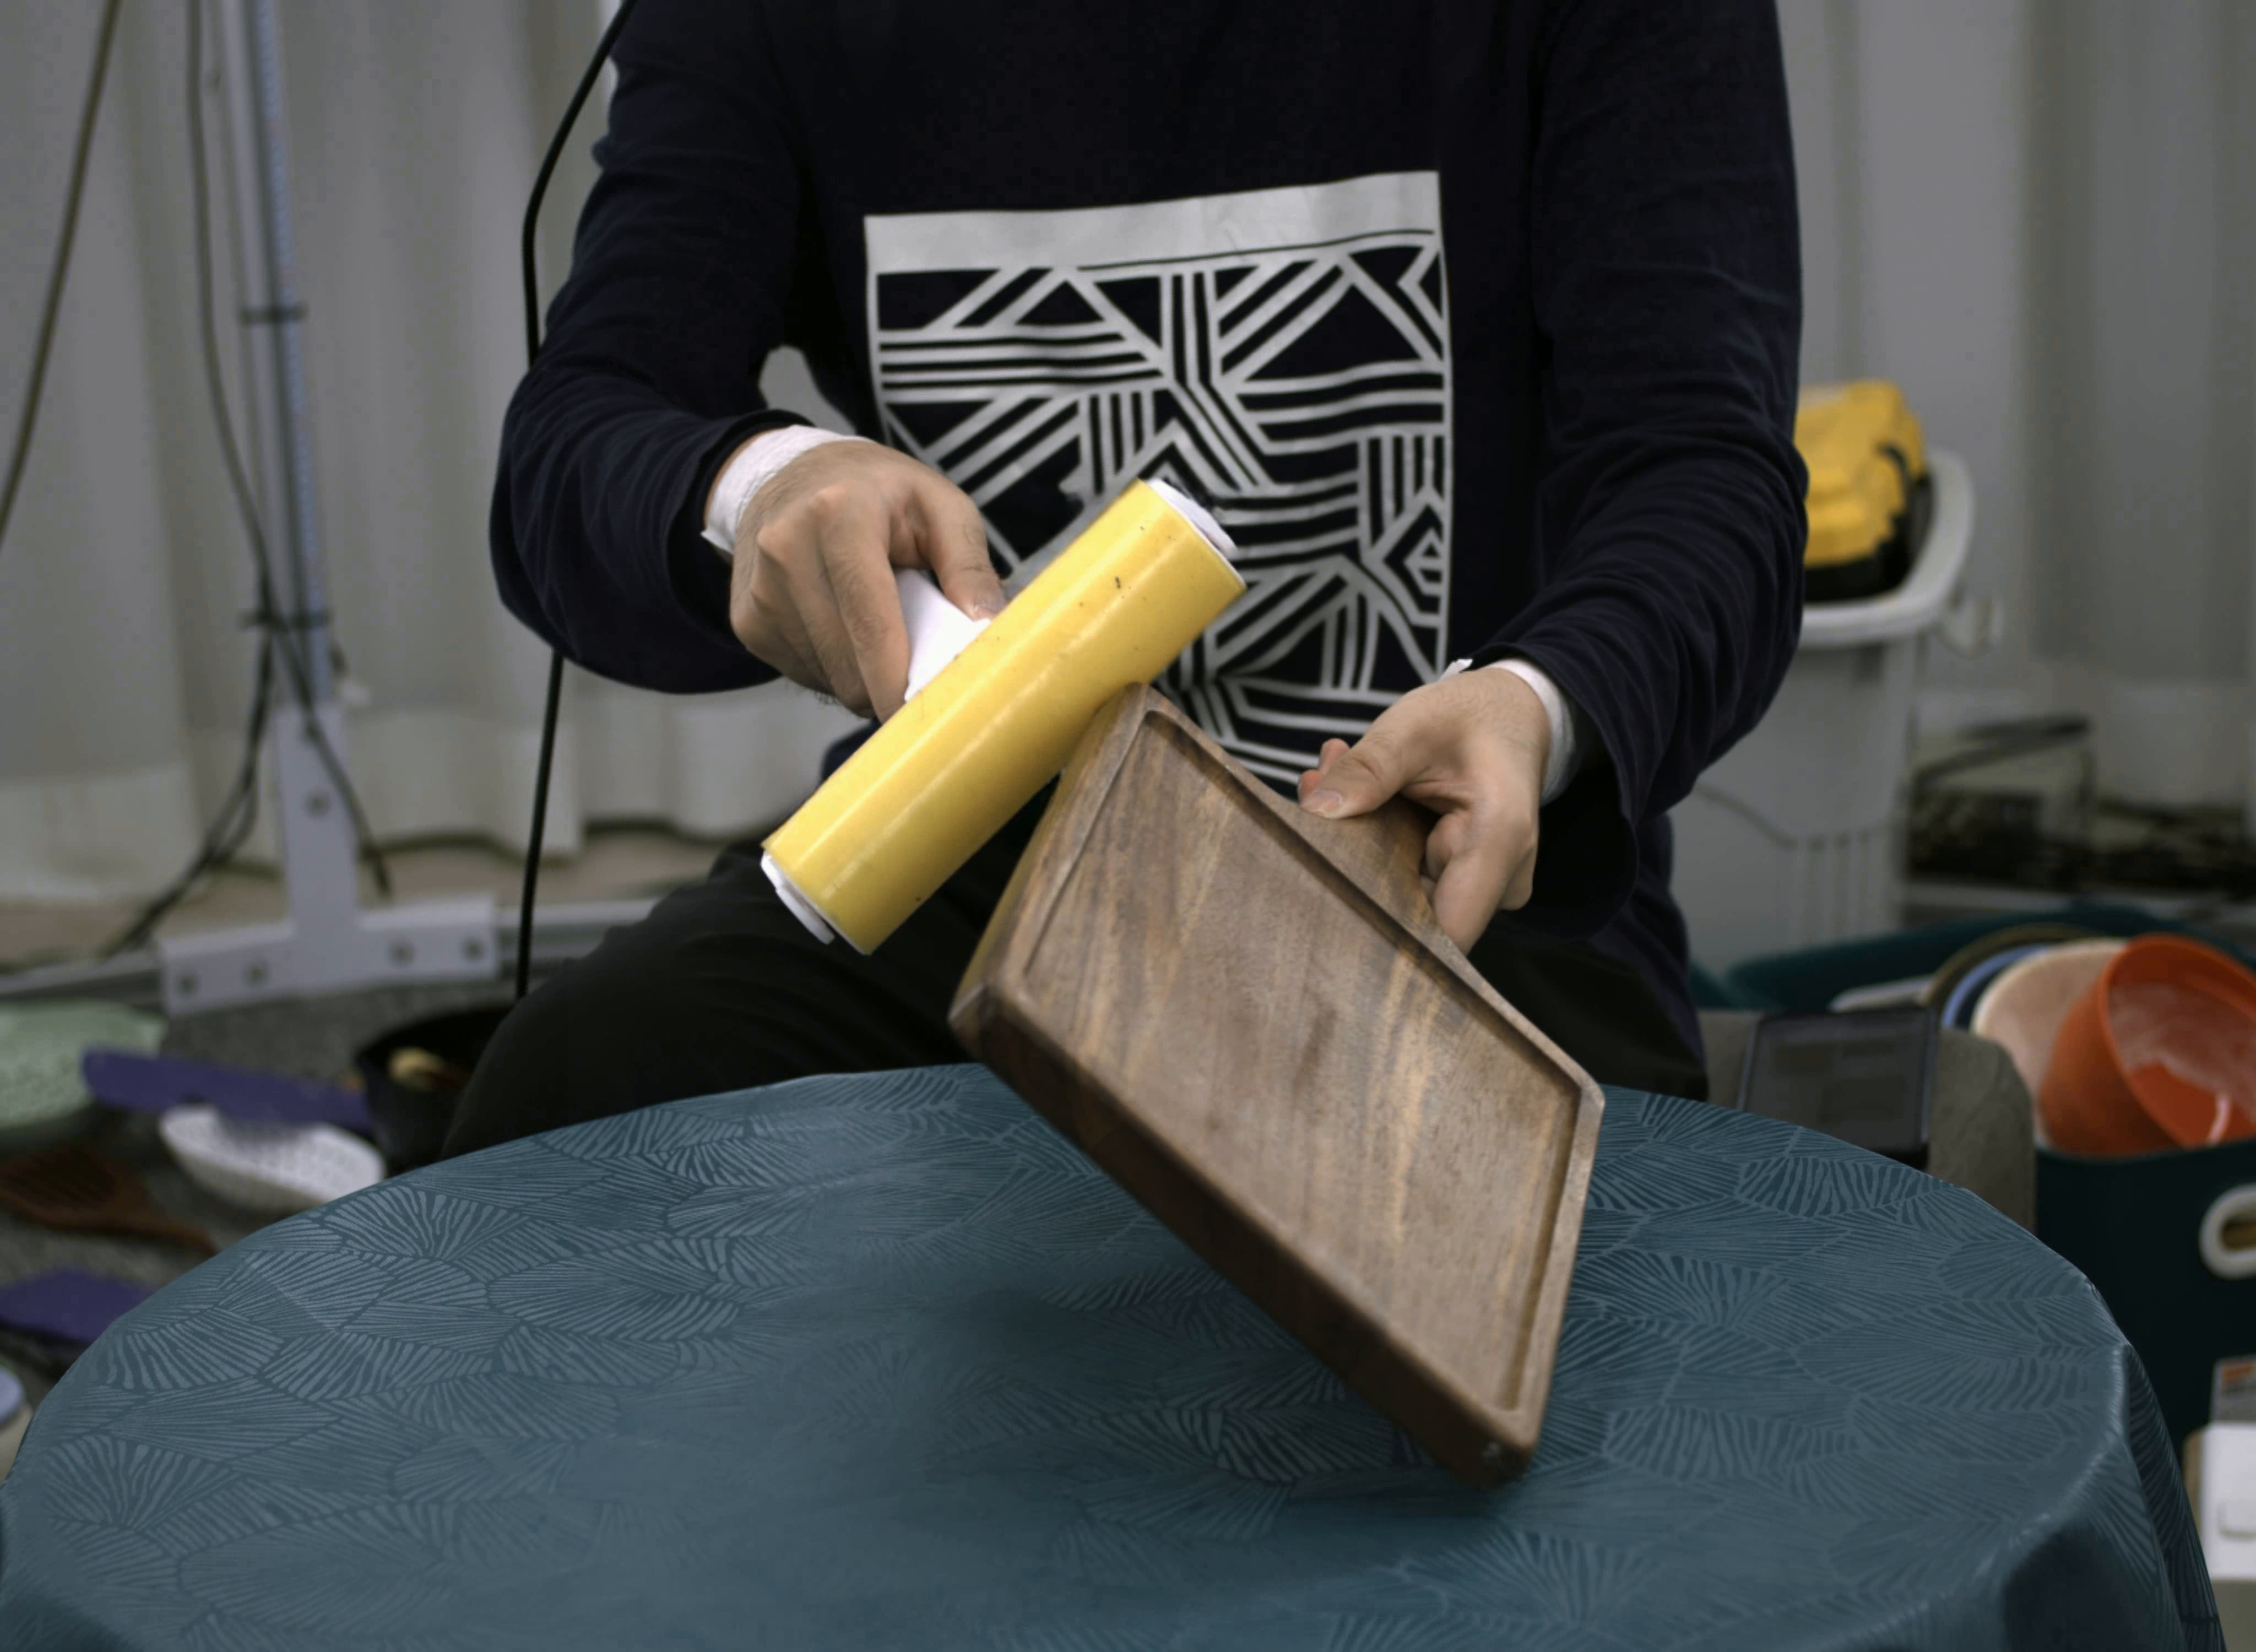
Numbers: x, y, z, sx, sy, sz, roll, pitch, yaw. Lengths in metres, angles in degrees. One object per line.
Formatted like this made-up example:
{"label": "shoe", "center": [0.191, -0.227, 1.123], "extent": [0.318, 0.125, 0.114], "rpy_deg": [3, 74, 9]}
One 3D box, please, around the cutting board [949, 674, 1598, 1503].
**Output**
{"label": "cutting board", "center": [0.056, 0.049, 1.586], "extent": [0.023, 0.200, 0.355], "rpy_deg": [-46, 7, 21]}

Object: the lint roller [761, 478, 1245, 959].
{"label": "lint roller", "center": [-0.067, -0.058, 1.715], "extent": [0.174, 0.051, 0.194], "rpy_deg": [-45, 35, -2]}
